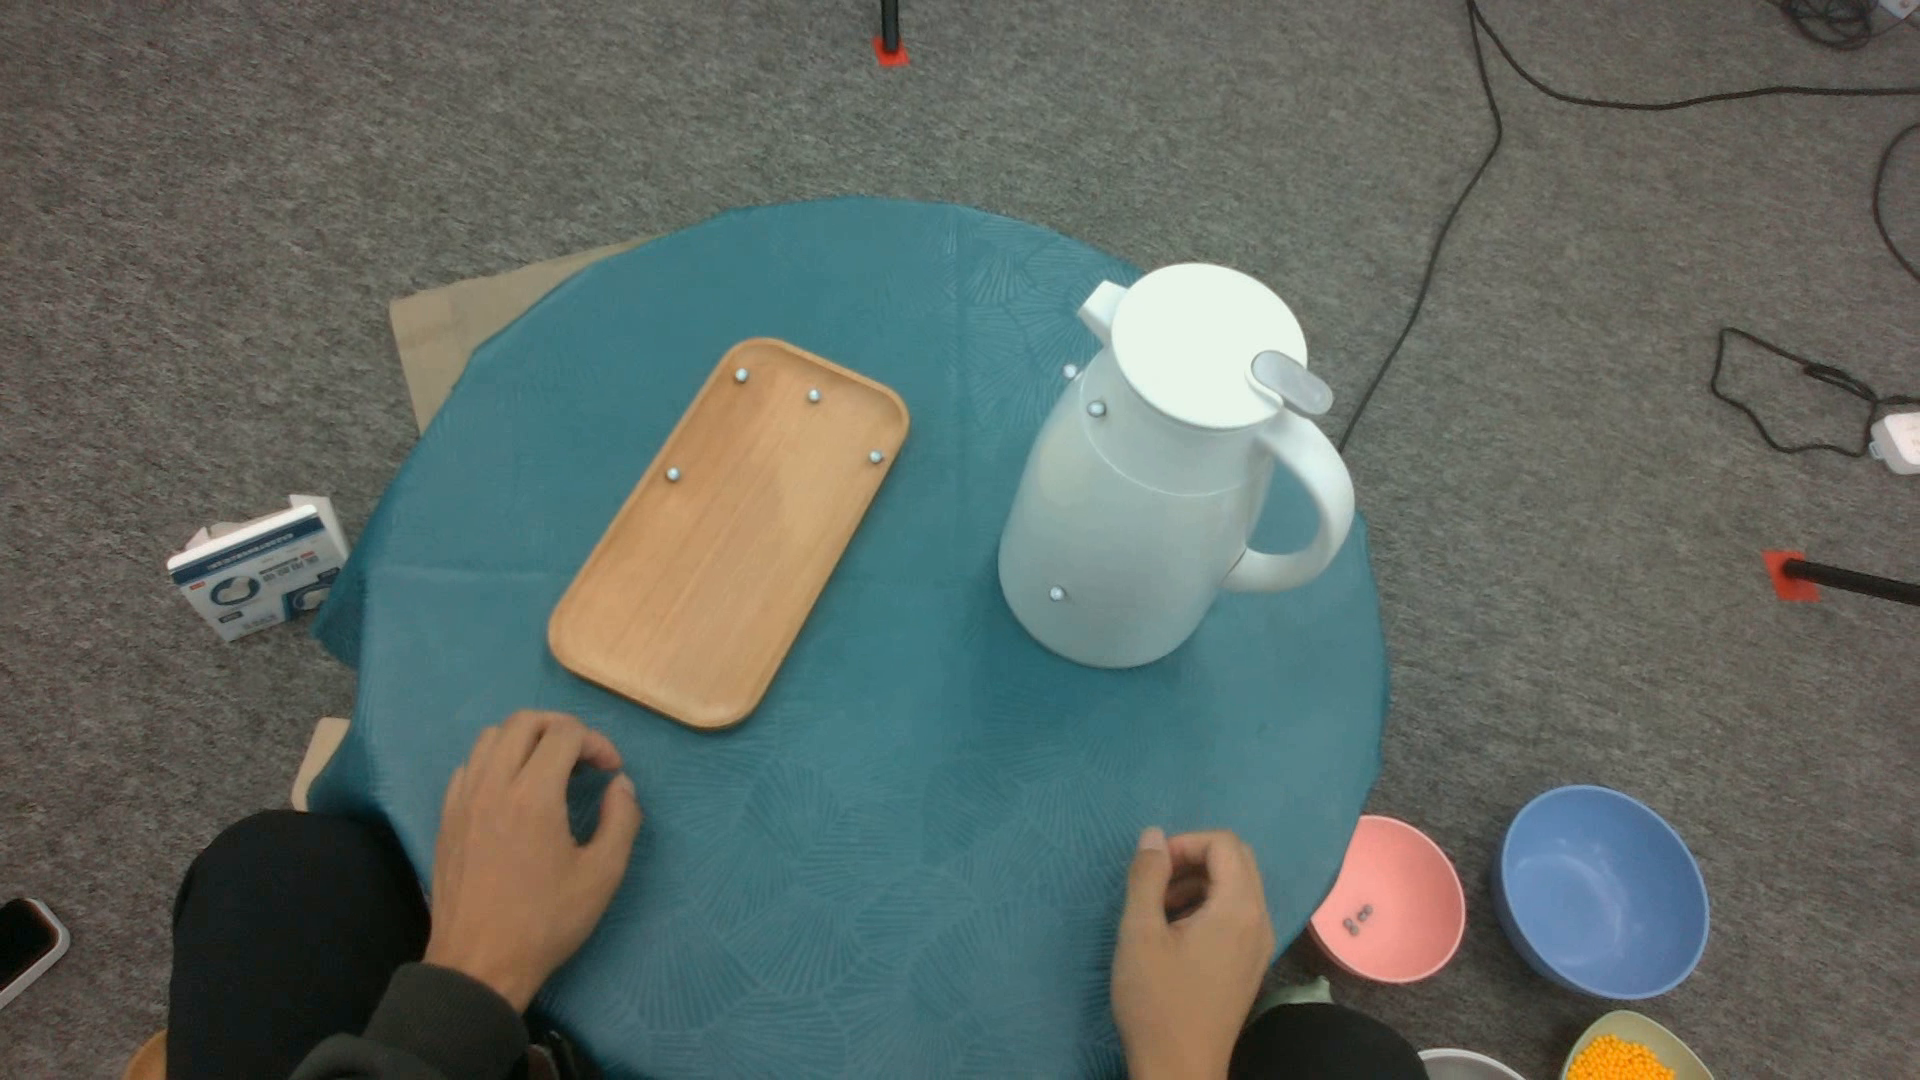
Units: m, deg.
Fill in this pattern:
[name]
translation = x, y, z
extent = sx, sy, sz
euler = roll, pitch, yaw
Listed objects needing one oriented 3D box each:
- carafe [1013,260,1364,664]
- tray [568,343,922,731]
[carafe]
translation = 0.125, -0.032, 0.739
extent = 0.168, 0.247, 0.133
euler = 32, 63, 10
[tray]
translation = -0.124, -0.008, 0.832
extent = 0.130, 0.023, 0.252
euler = 23, 63, 9
